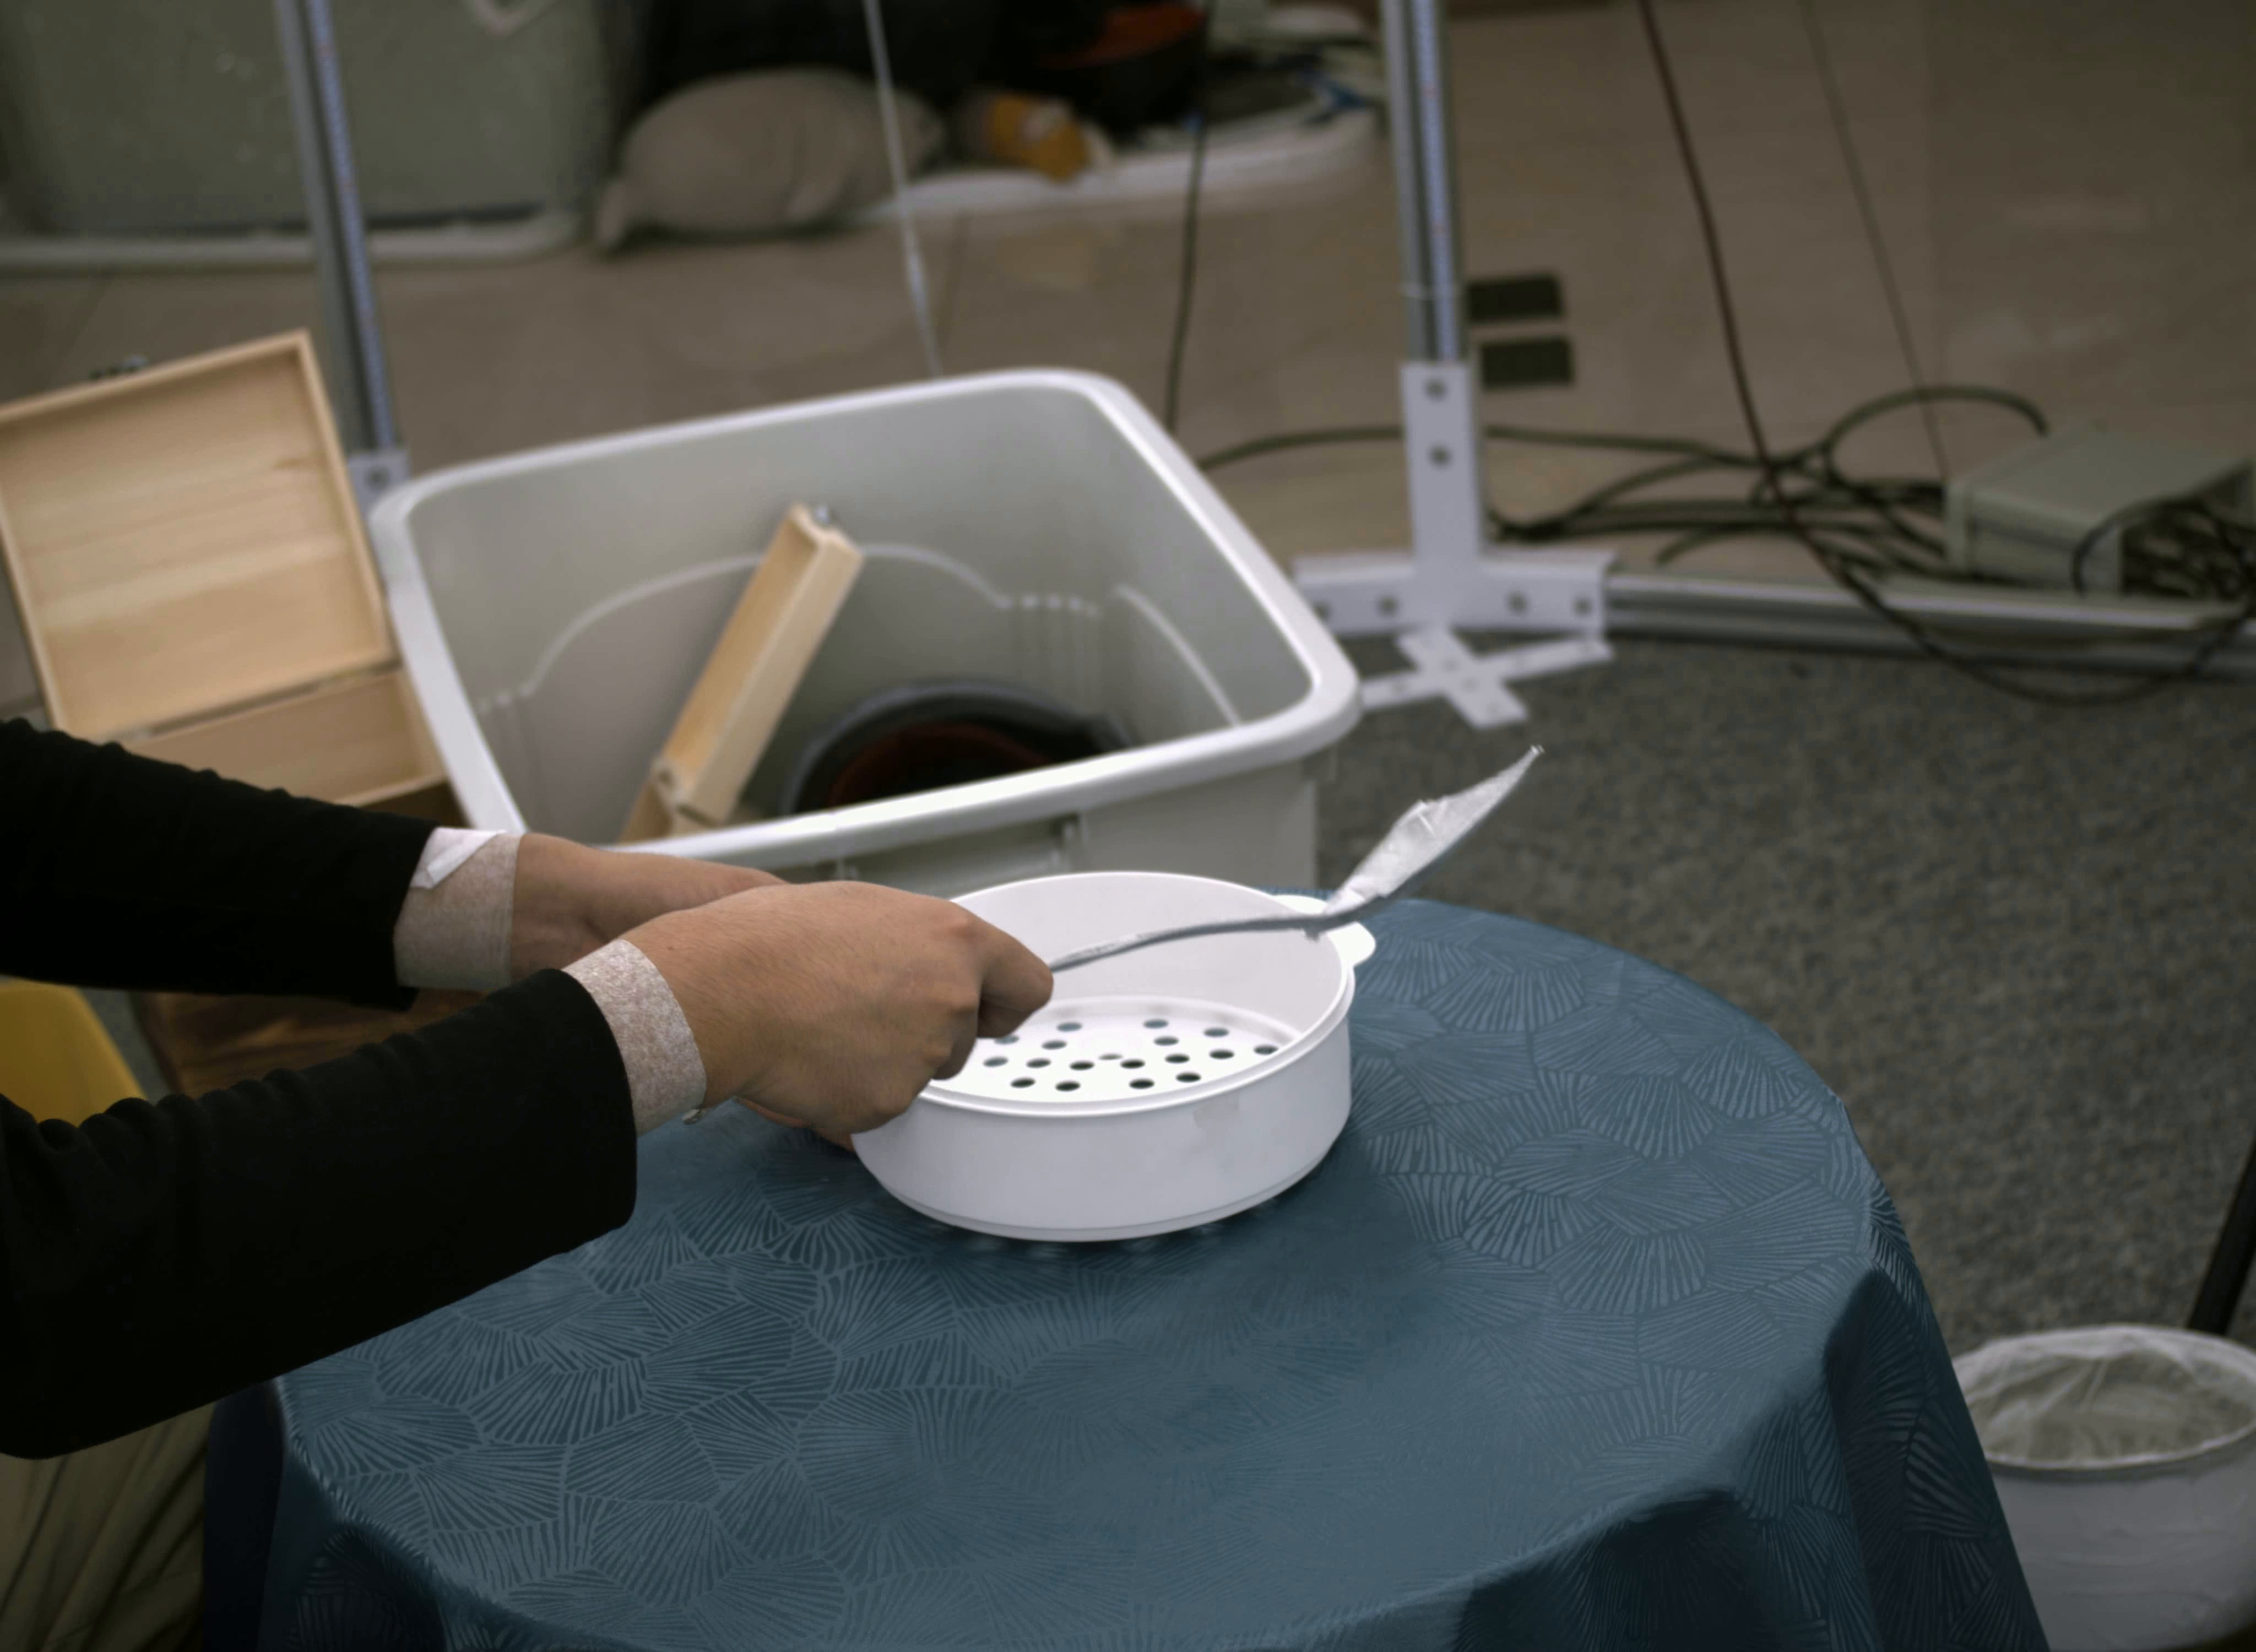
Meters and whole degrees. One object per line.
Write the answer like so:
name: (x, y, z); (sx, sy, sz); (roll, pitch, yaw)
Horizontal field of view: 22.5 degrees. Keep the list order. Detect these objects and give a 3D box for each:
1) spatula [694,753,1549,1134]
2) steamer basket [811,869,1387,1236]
spatula: (-0.001, 0.041, 2.003); (0.363, 0.045, 0.099); (-15, -6, -33)
steamer basket: (-0.007, 0.087, 2.172); (0.229, 0.070, 0.199); (-16, 27, -22)
